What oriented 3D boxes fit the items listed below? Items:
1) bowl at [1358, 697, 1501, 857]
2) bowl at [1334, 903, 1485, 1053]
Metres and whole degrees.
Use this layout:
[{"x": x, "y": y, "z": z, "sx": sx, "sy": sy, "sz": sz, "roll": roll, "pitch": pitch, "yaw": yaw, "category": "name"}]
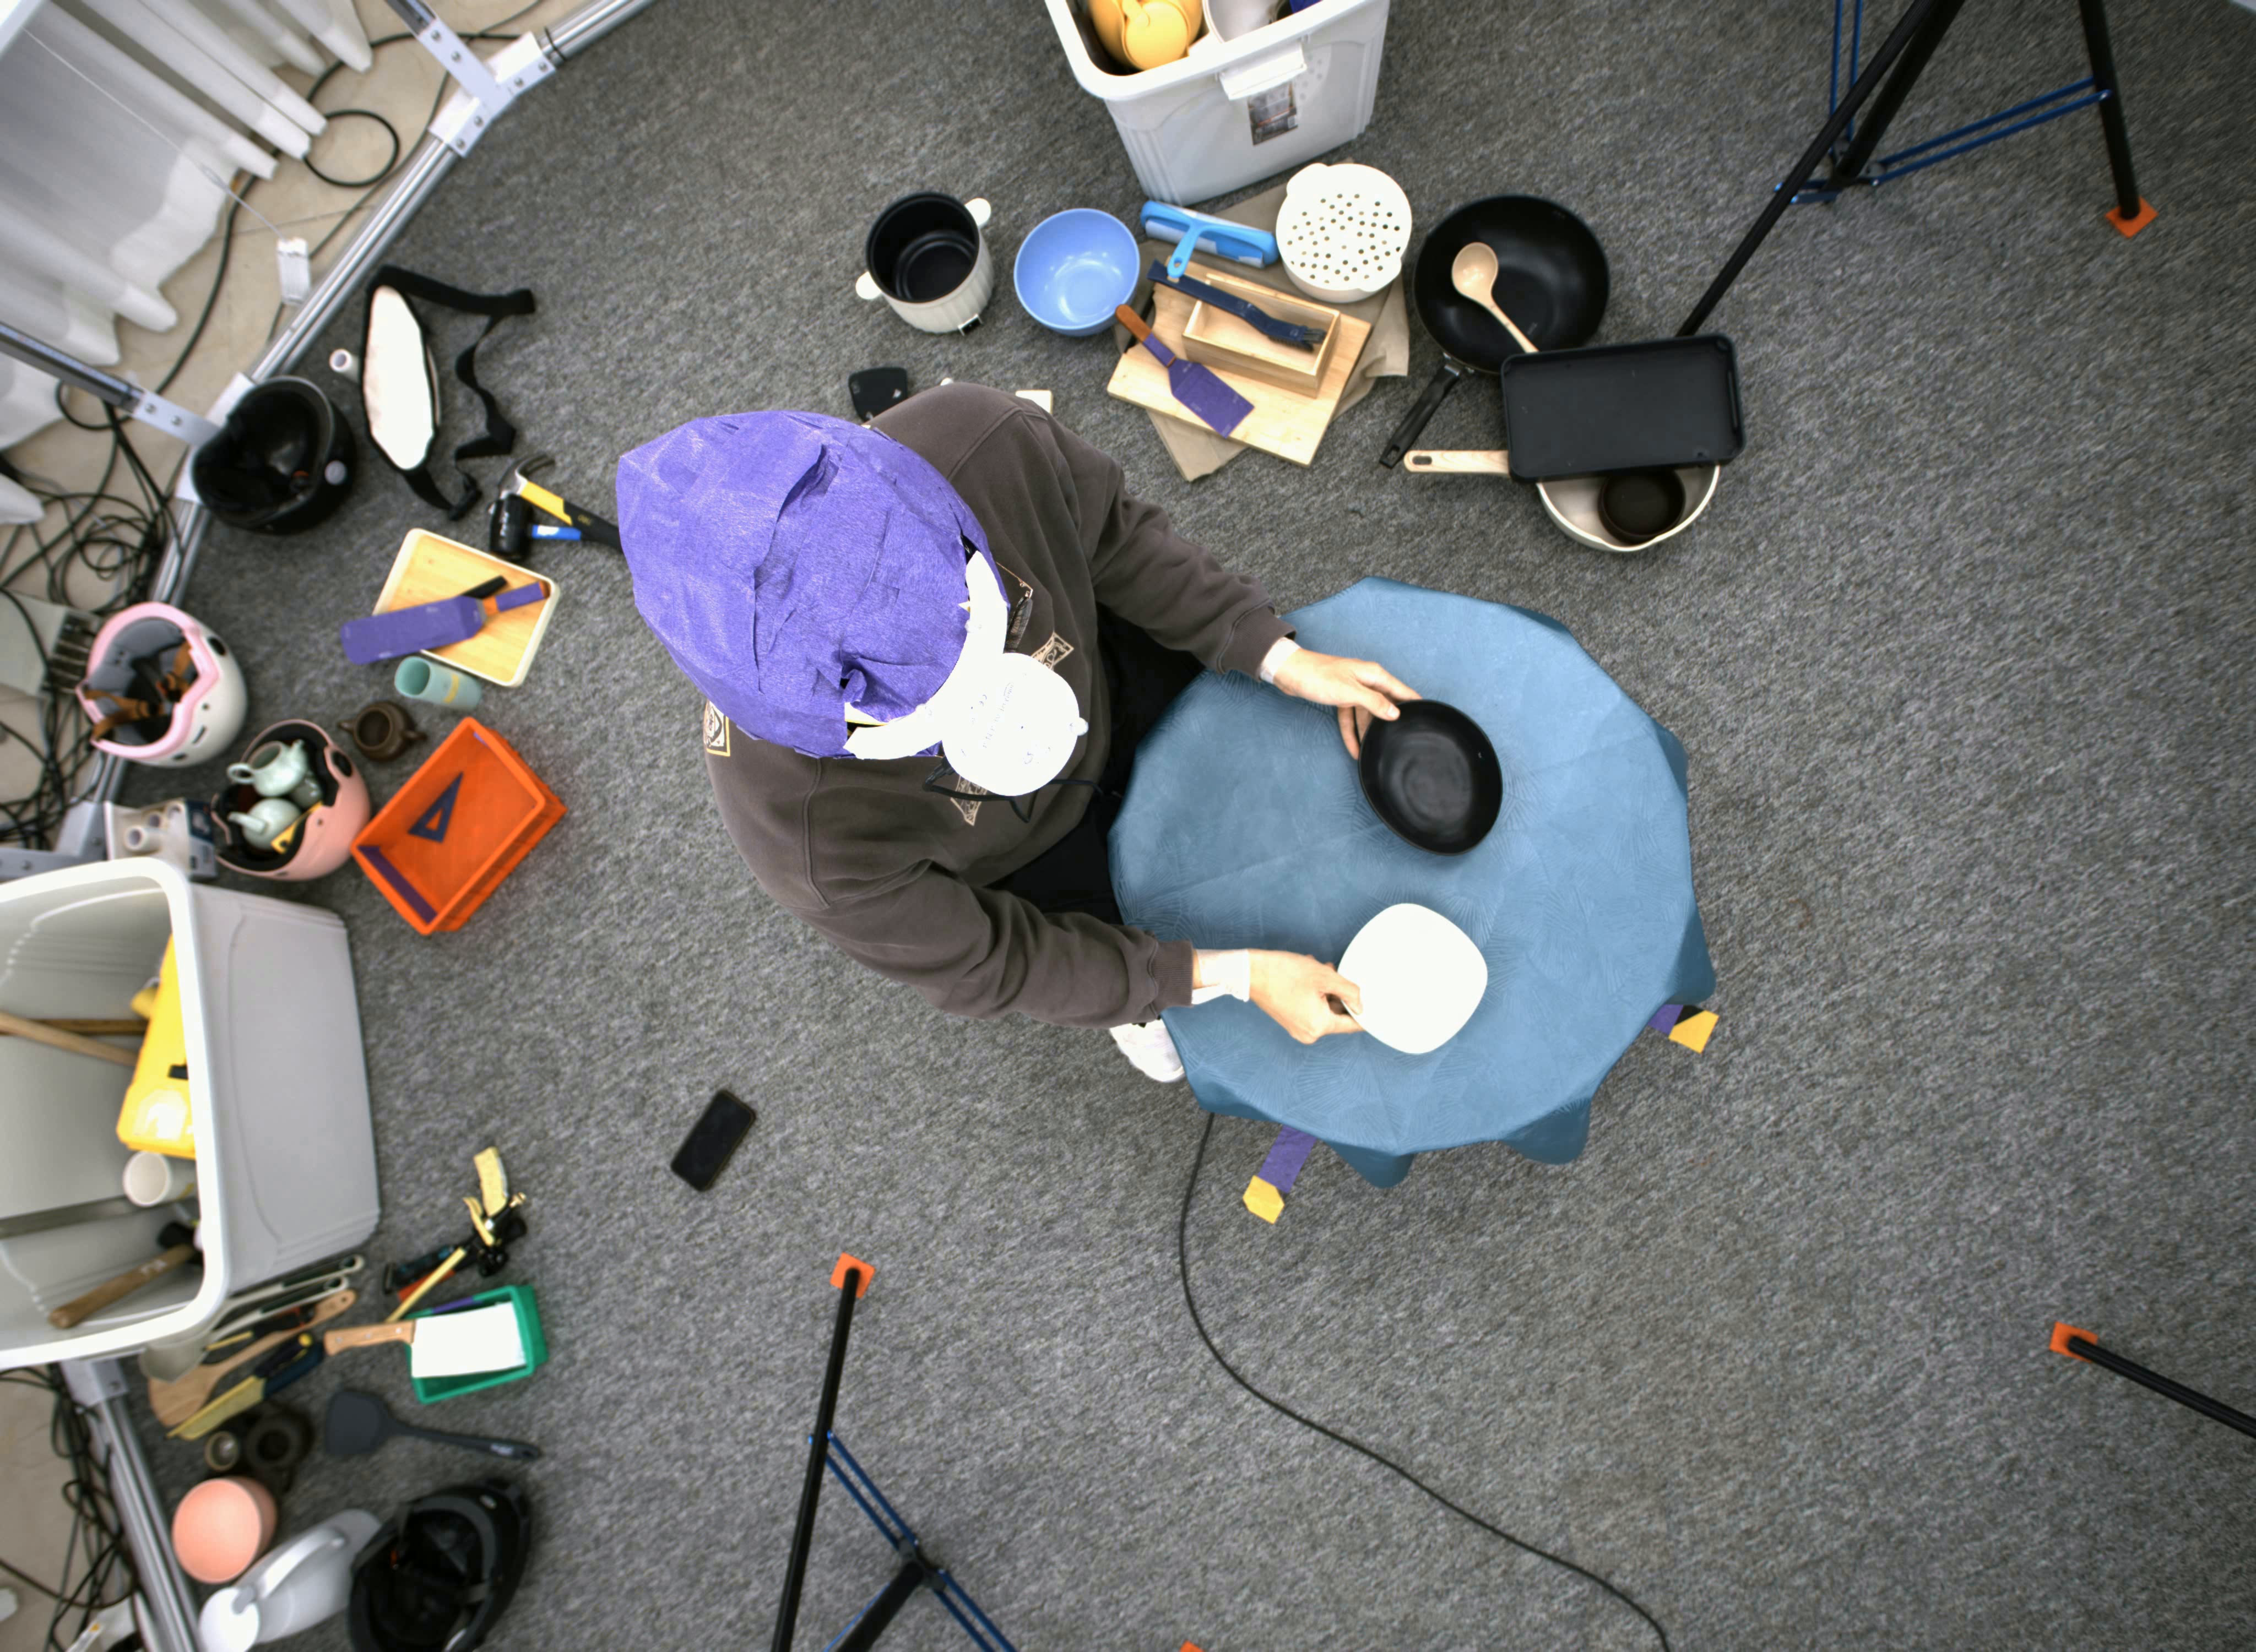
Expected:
[{"x": 0.312, "y": -0.051, "z": 1.424, "sx": 0.138, "sy": 0.066, "sz": 0.169, "roll": -31, "pitch": 84, "yaw": 7, "category": "bowl"}, {"x": 0.288, "y": 0.155, "z": 1.420, "sx": 0.152, "sy": 0.059, "sz": 0.150, "roll": -1, "pitch": 86, "yaw": 9, "category": "bowl"}]
